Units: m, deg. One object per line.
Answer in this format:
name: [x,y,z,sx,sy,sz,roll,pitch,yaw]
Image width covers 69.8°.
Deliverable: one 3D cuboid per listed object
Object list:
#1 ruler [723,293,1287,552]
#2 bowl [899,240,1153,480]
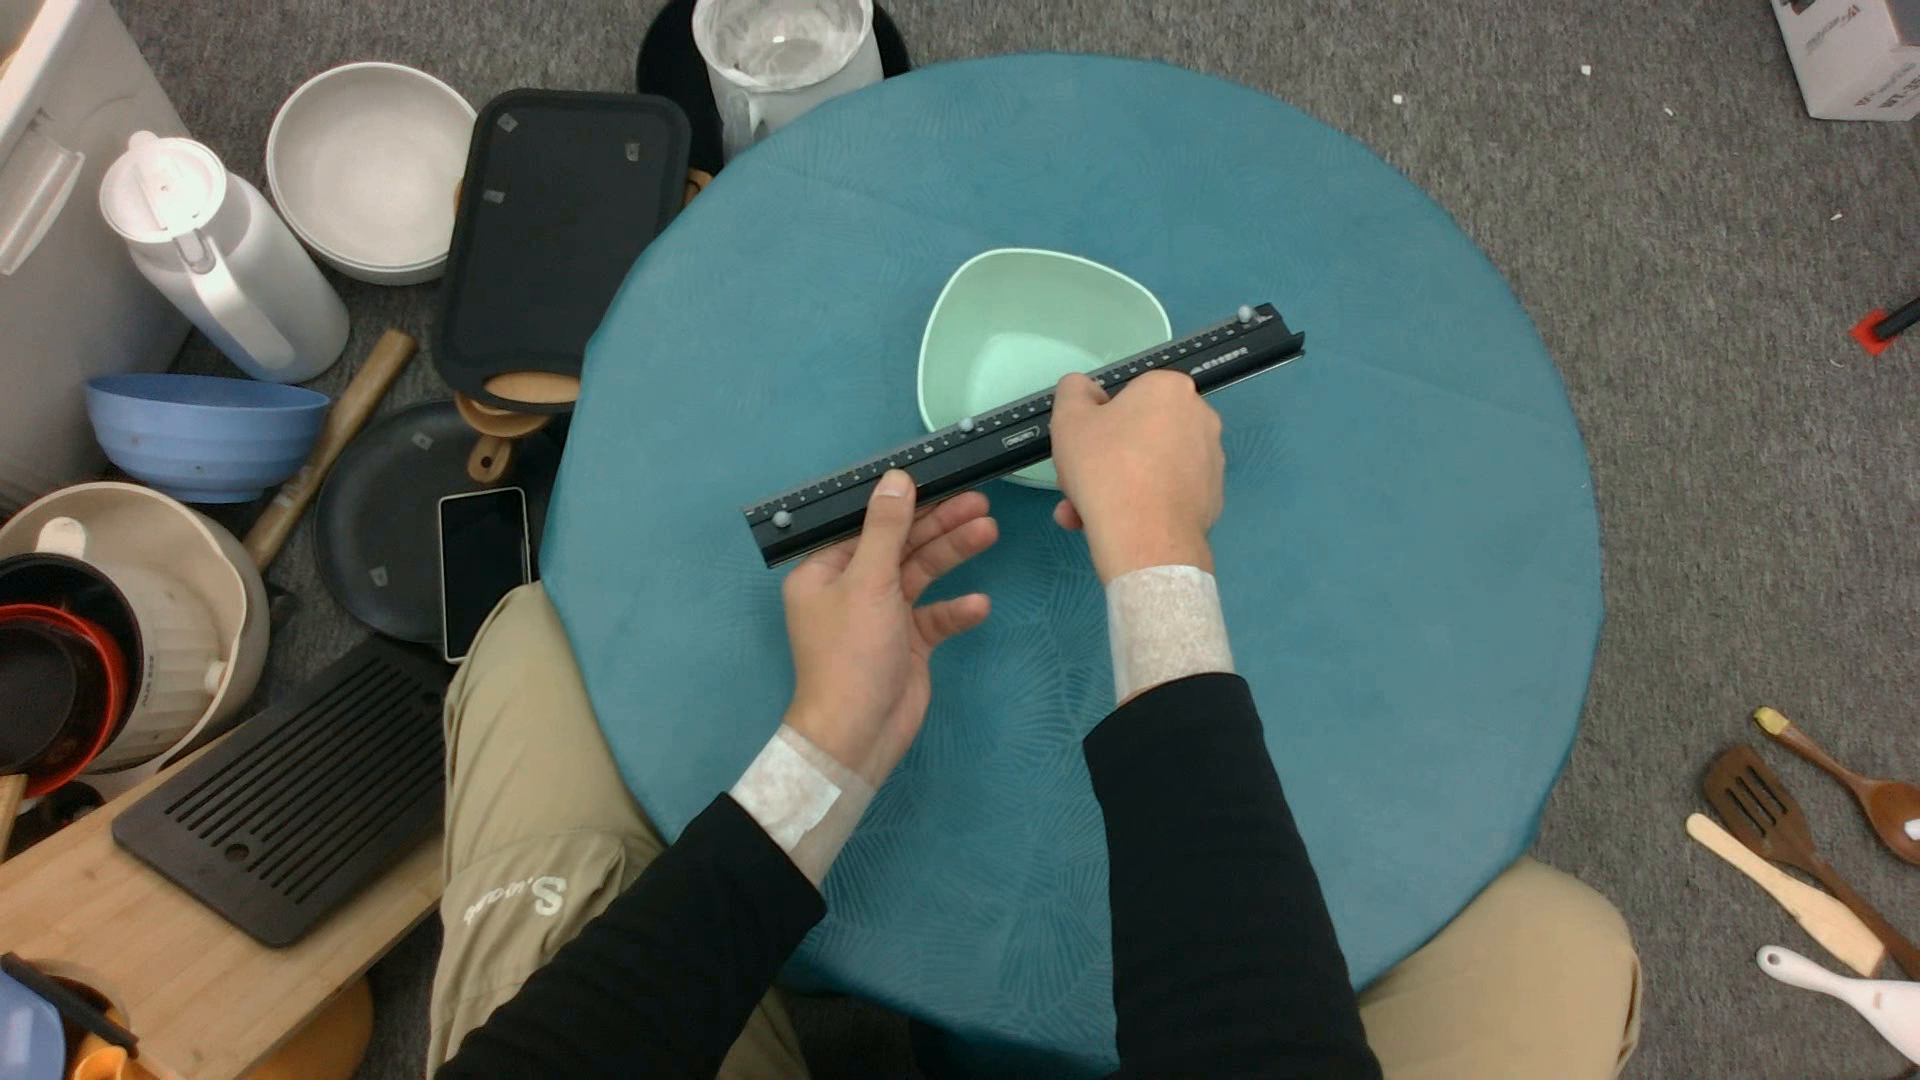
ruler: [0.029,-0.069,0.714,0.313,0.017,0.039,-22,66,-12]
bowl: [0.034,-0.093,0.777,0.151,0.058,0.152,2,71,-6]
